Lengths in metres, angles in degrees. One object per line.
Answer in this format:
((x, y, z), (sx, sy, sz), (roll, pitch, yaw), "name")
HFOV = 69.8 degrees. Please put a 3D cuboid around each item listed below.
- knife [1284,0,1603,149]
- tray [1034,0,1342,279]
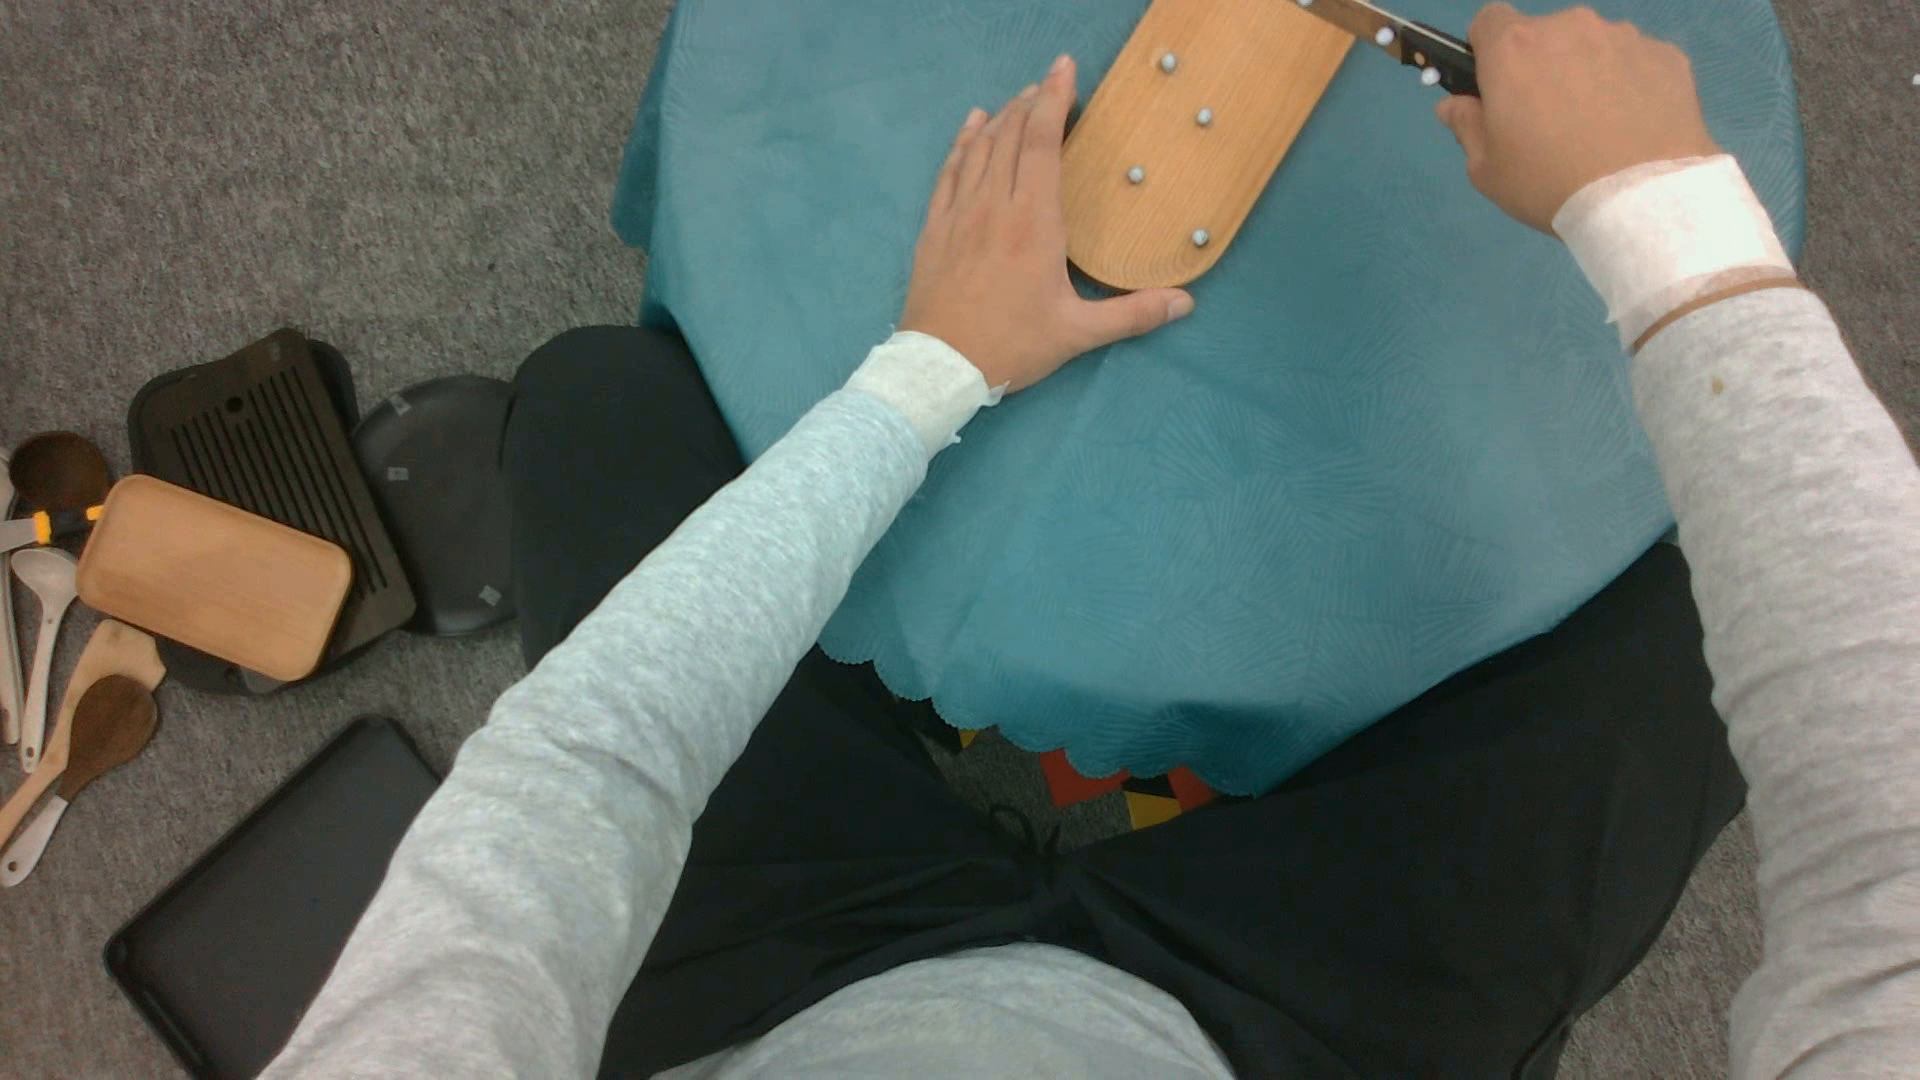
((0.189, -0.235, 0.629), (0.016, 0.024, 0.238), (-45, 55, -2), "knife")
((0.121, -0.240, 0.724), (0.101, 0.020, 0.231), (29, 80, 3), "tray")
